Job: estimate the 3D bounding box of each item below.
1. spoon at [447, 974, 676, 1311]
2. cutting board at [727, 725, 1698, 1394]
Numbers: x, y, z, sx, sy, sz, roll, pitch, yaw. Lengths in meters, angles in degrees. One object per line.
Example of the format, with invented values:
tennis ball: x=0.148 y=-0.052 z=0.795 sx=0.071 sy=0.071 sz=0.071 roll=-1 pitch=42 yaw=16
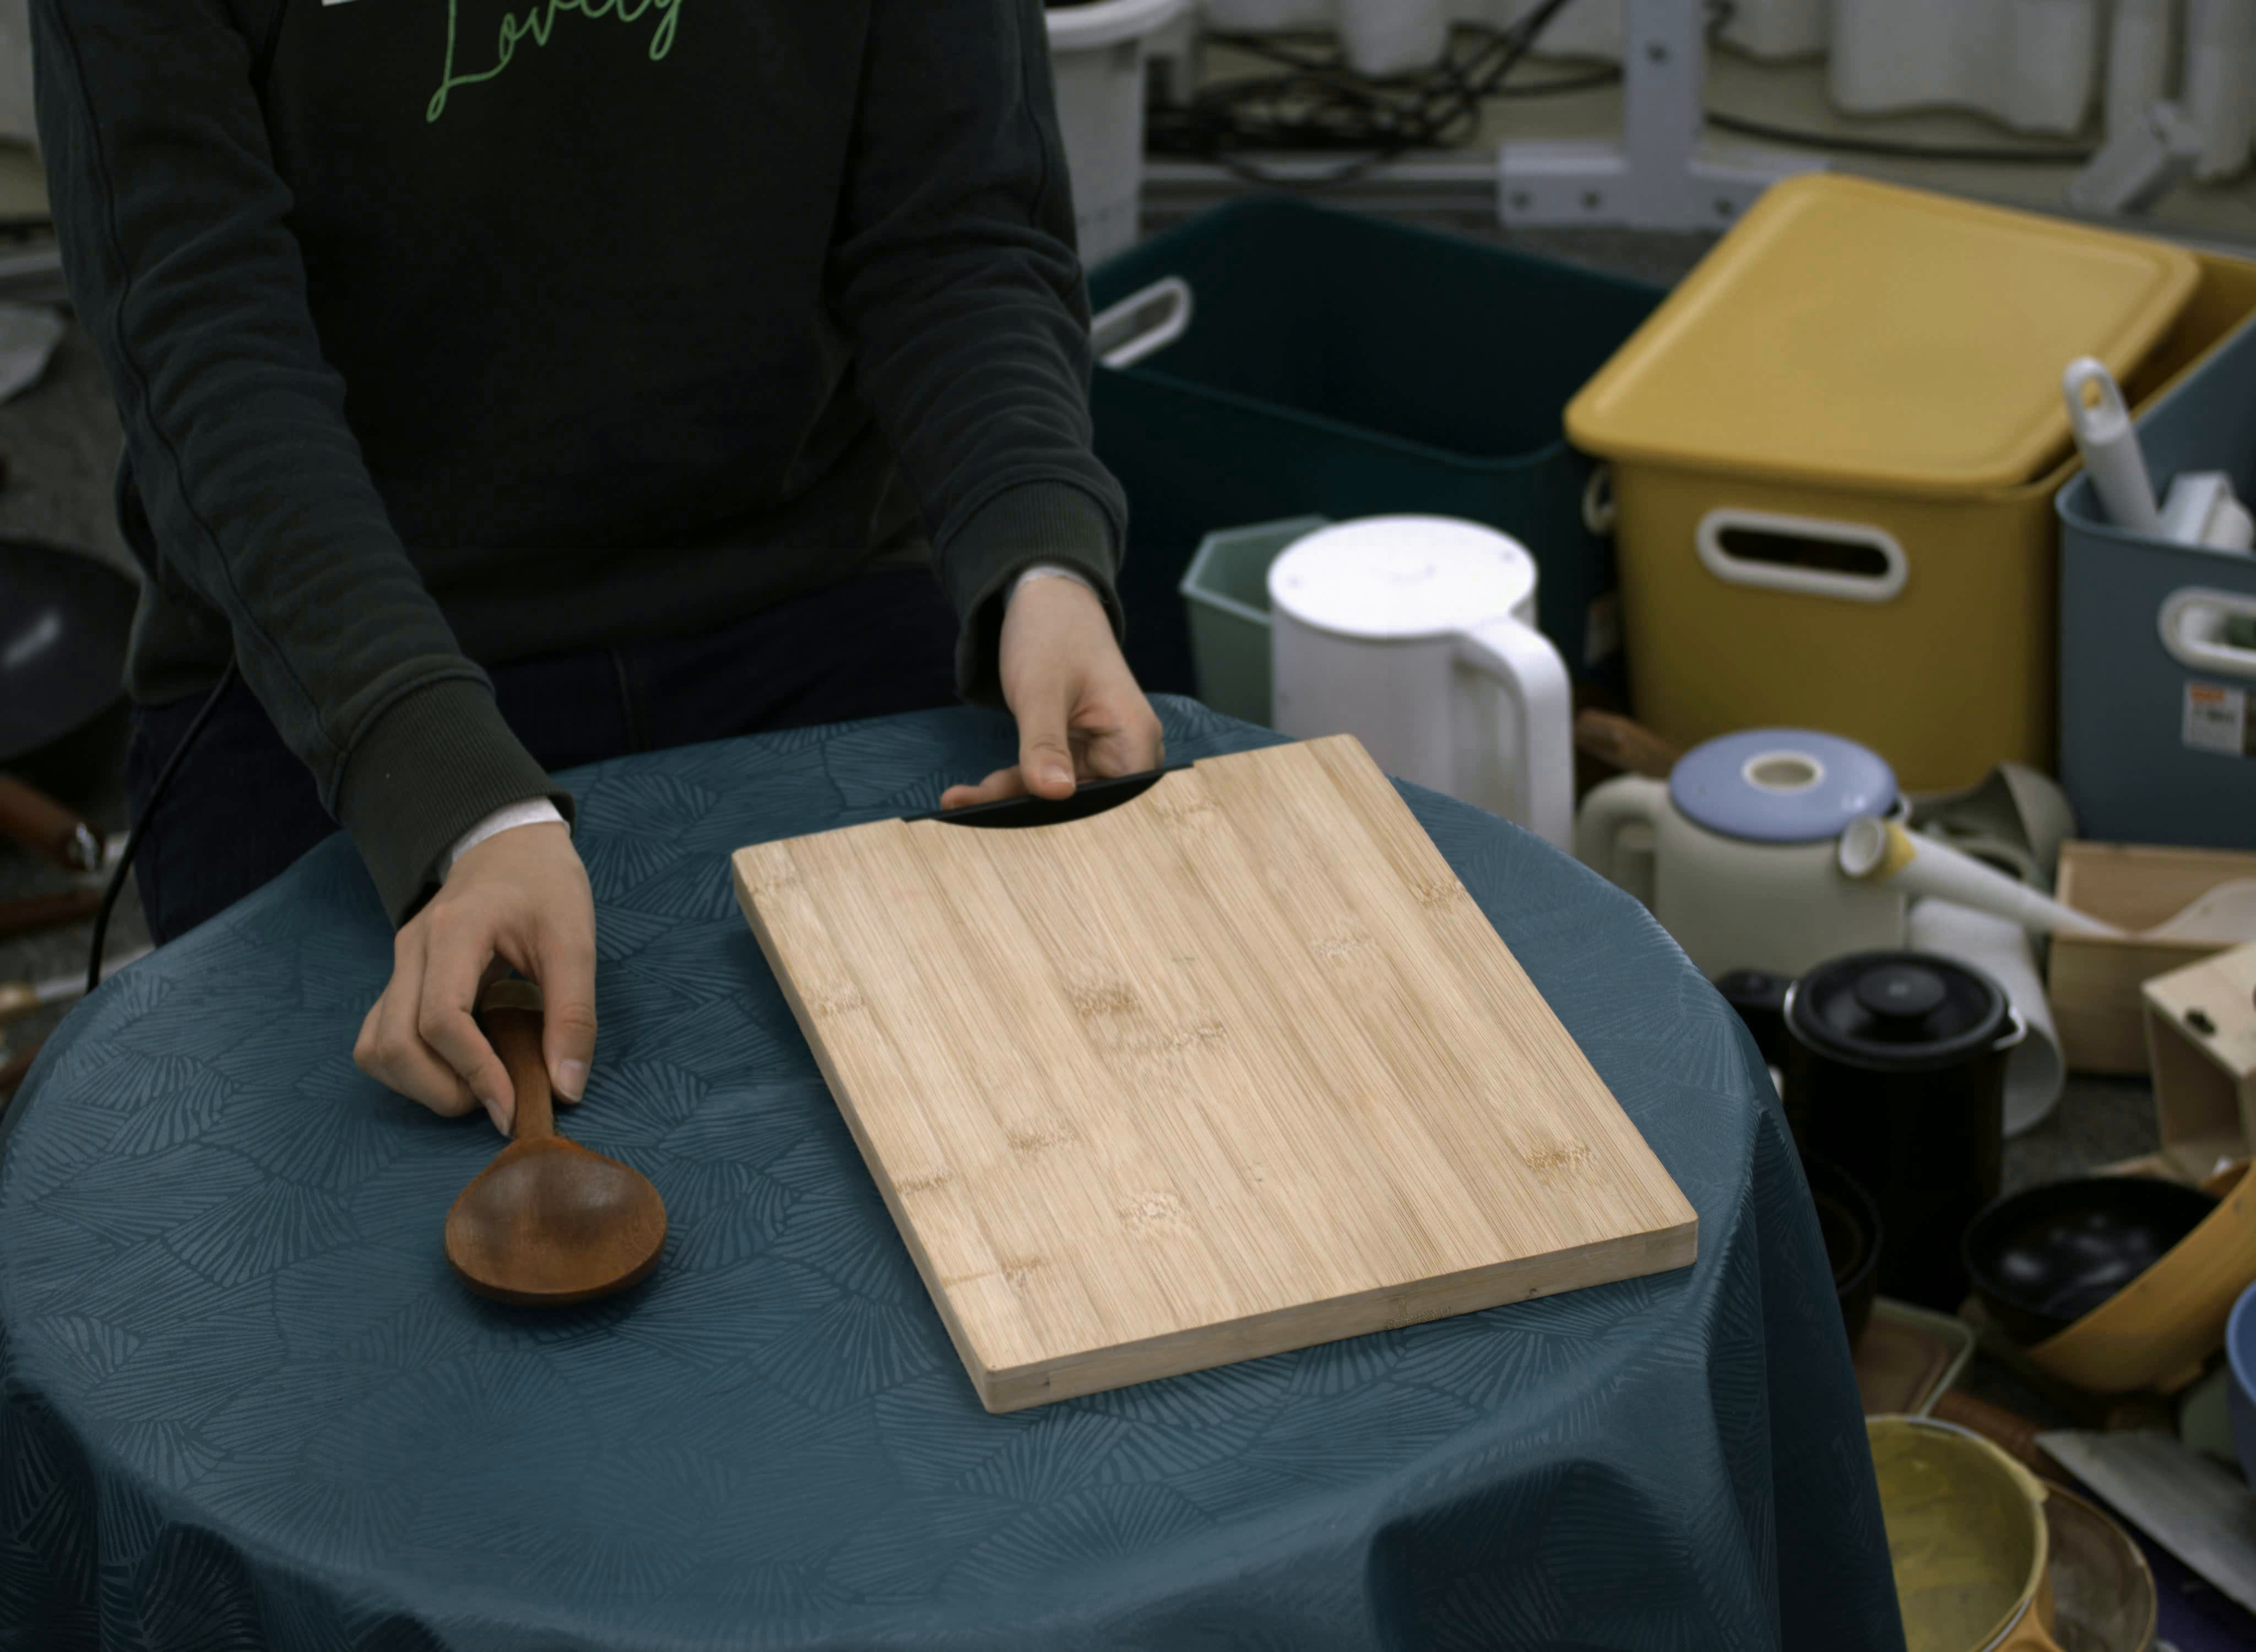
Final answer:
spoon: x=-0.196 y=0.107 z=1.890 sx=0.075 sy=0.017 sz=0.218 roll=-9 pitch=28 yaw=-8
cutting board: x=0.019 y=0.072 z=1.920 sx=0.251 sy=0.023 sz=0.352 roll=-10 pitch=31 yaw=-15
